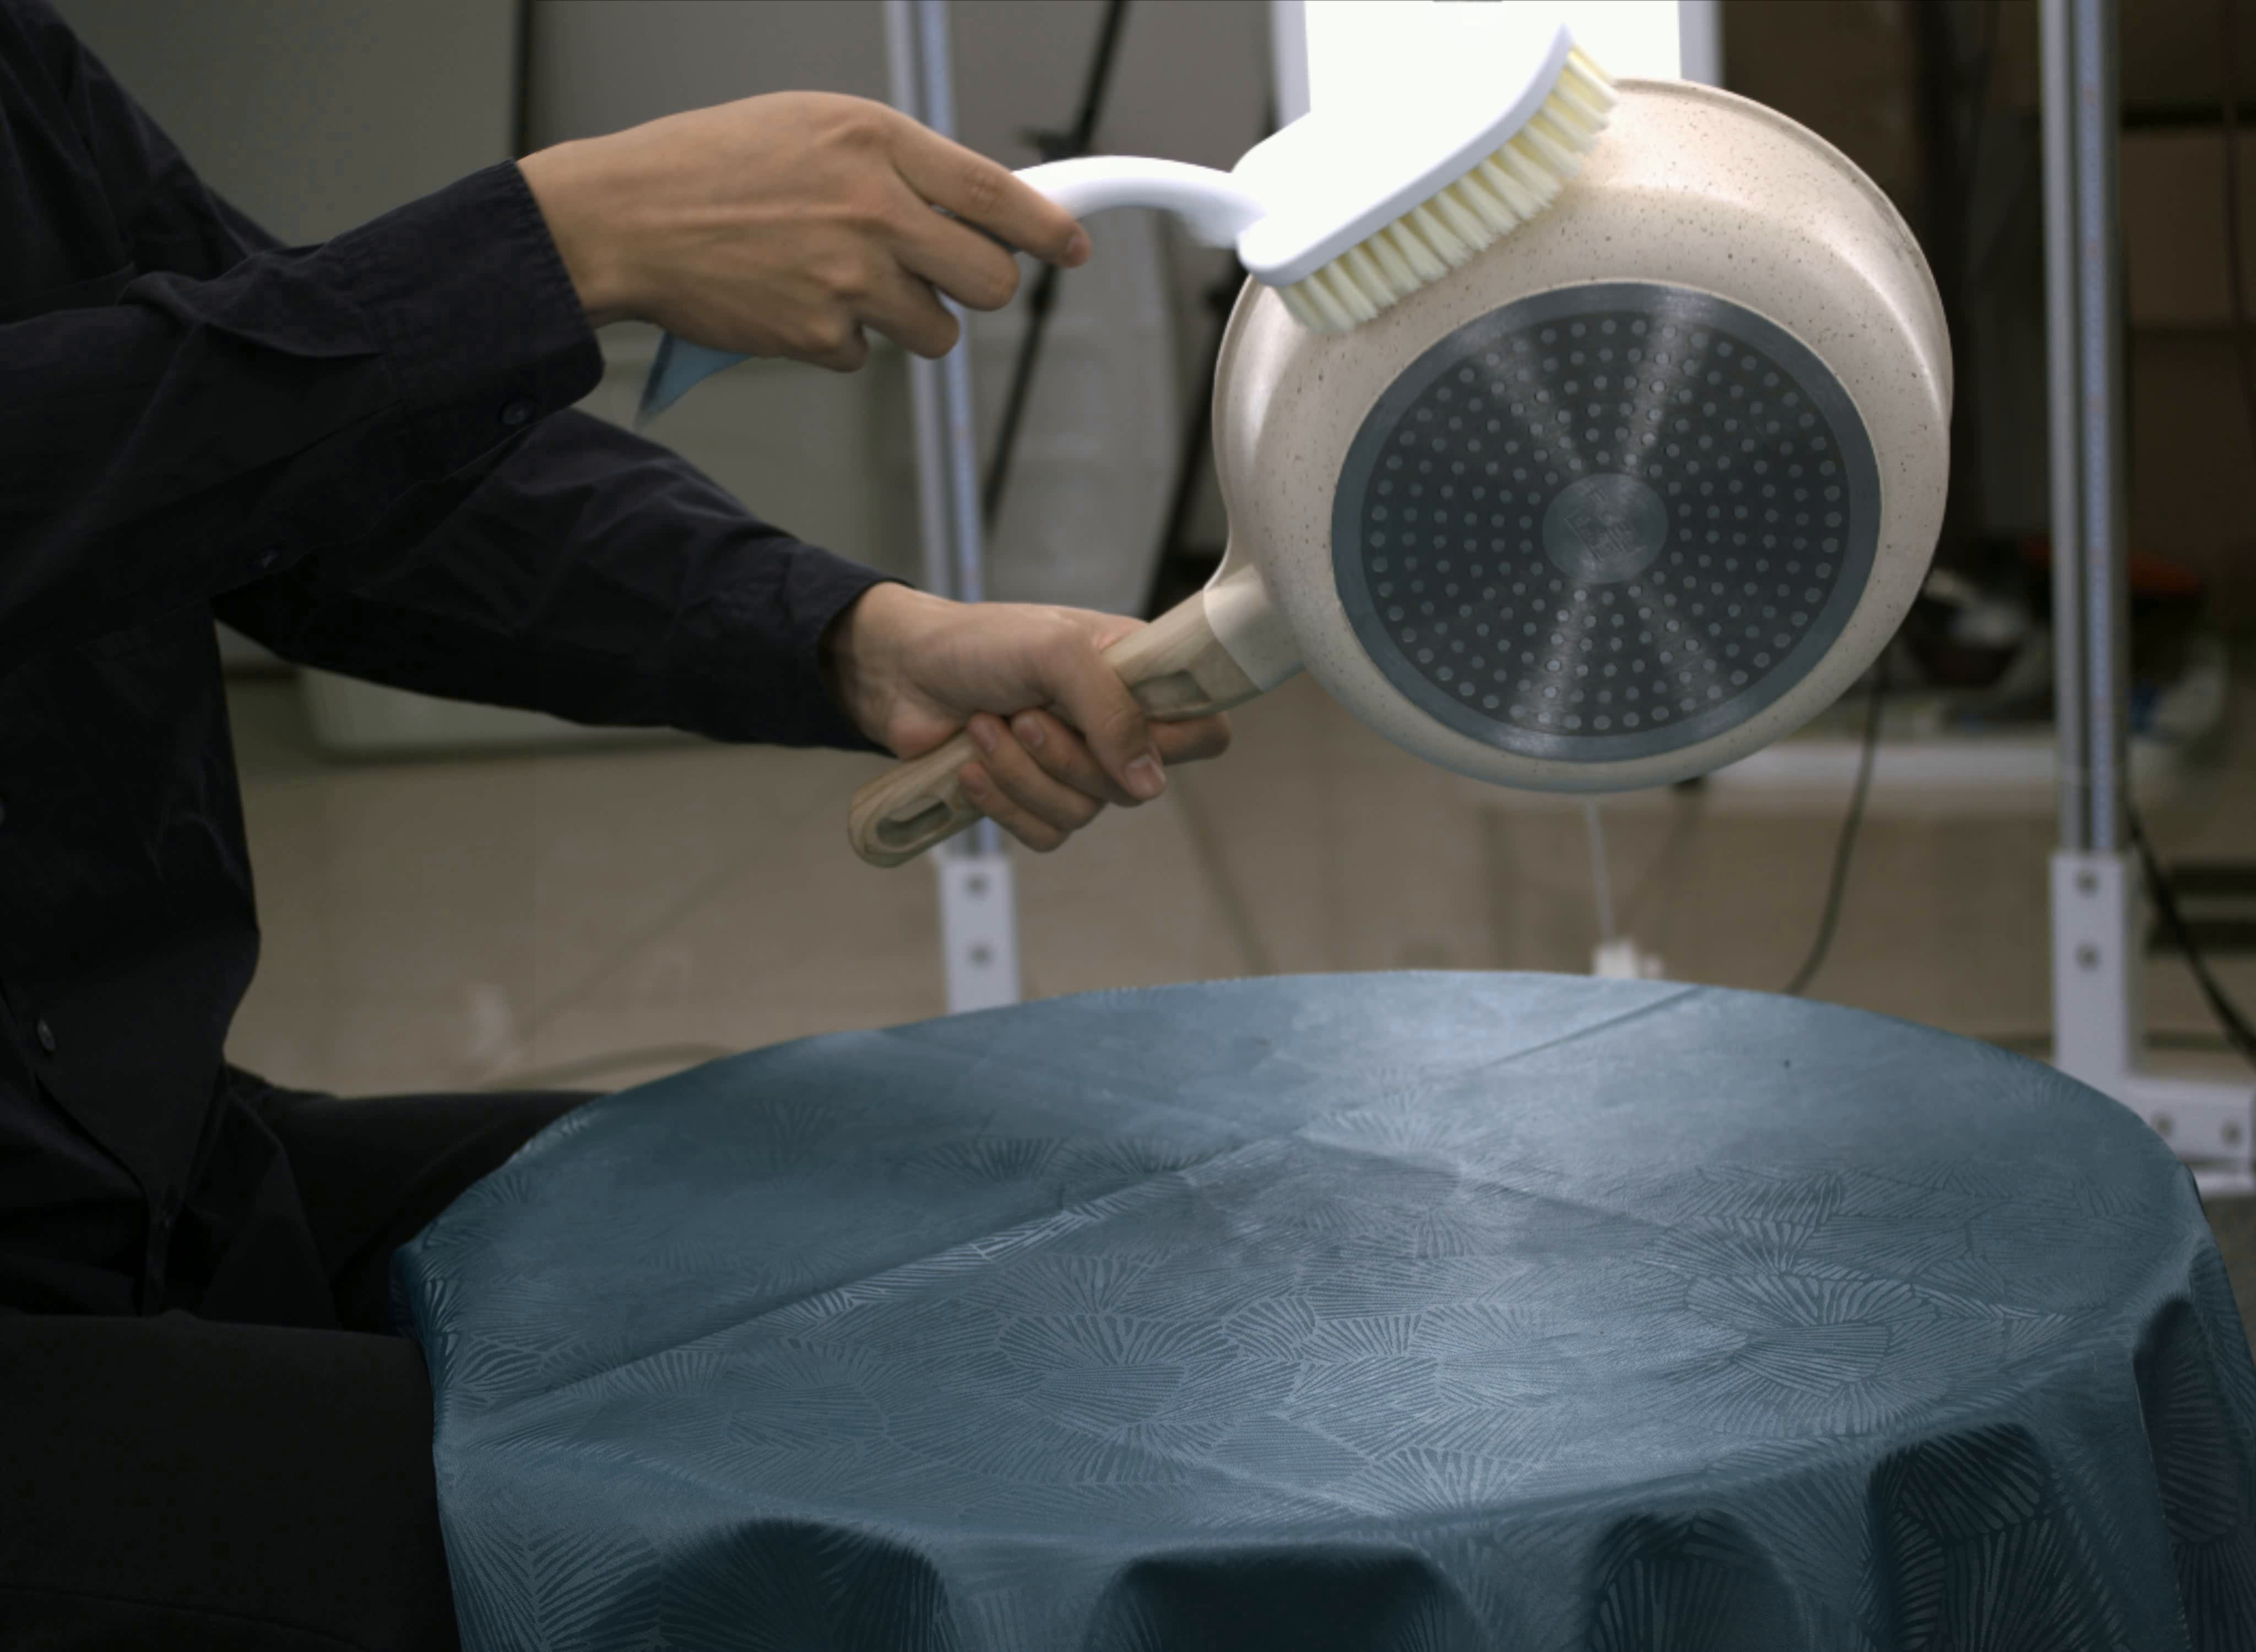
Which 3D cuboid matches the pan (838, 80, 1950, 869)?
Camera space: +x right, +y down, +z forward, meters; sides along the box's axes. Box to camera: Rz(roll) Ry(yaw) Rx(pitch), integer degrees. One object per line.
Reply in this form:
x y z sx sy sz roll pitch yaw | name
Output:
0.081 -0.076 1.857 0.441 0.260 0.101 -31 30 20 | pan

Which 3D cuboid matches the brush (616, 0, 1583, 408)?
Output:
-0.005 -0.179 1.755 0.327 0.085 0.082 -21 1 11 | brush
